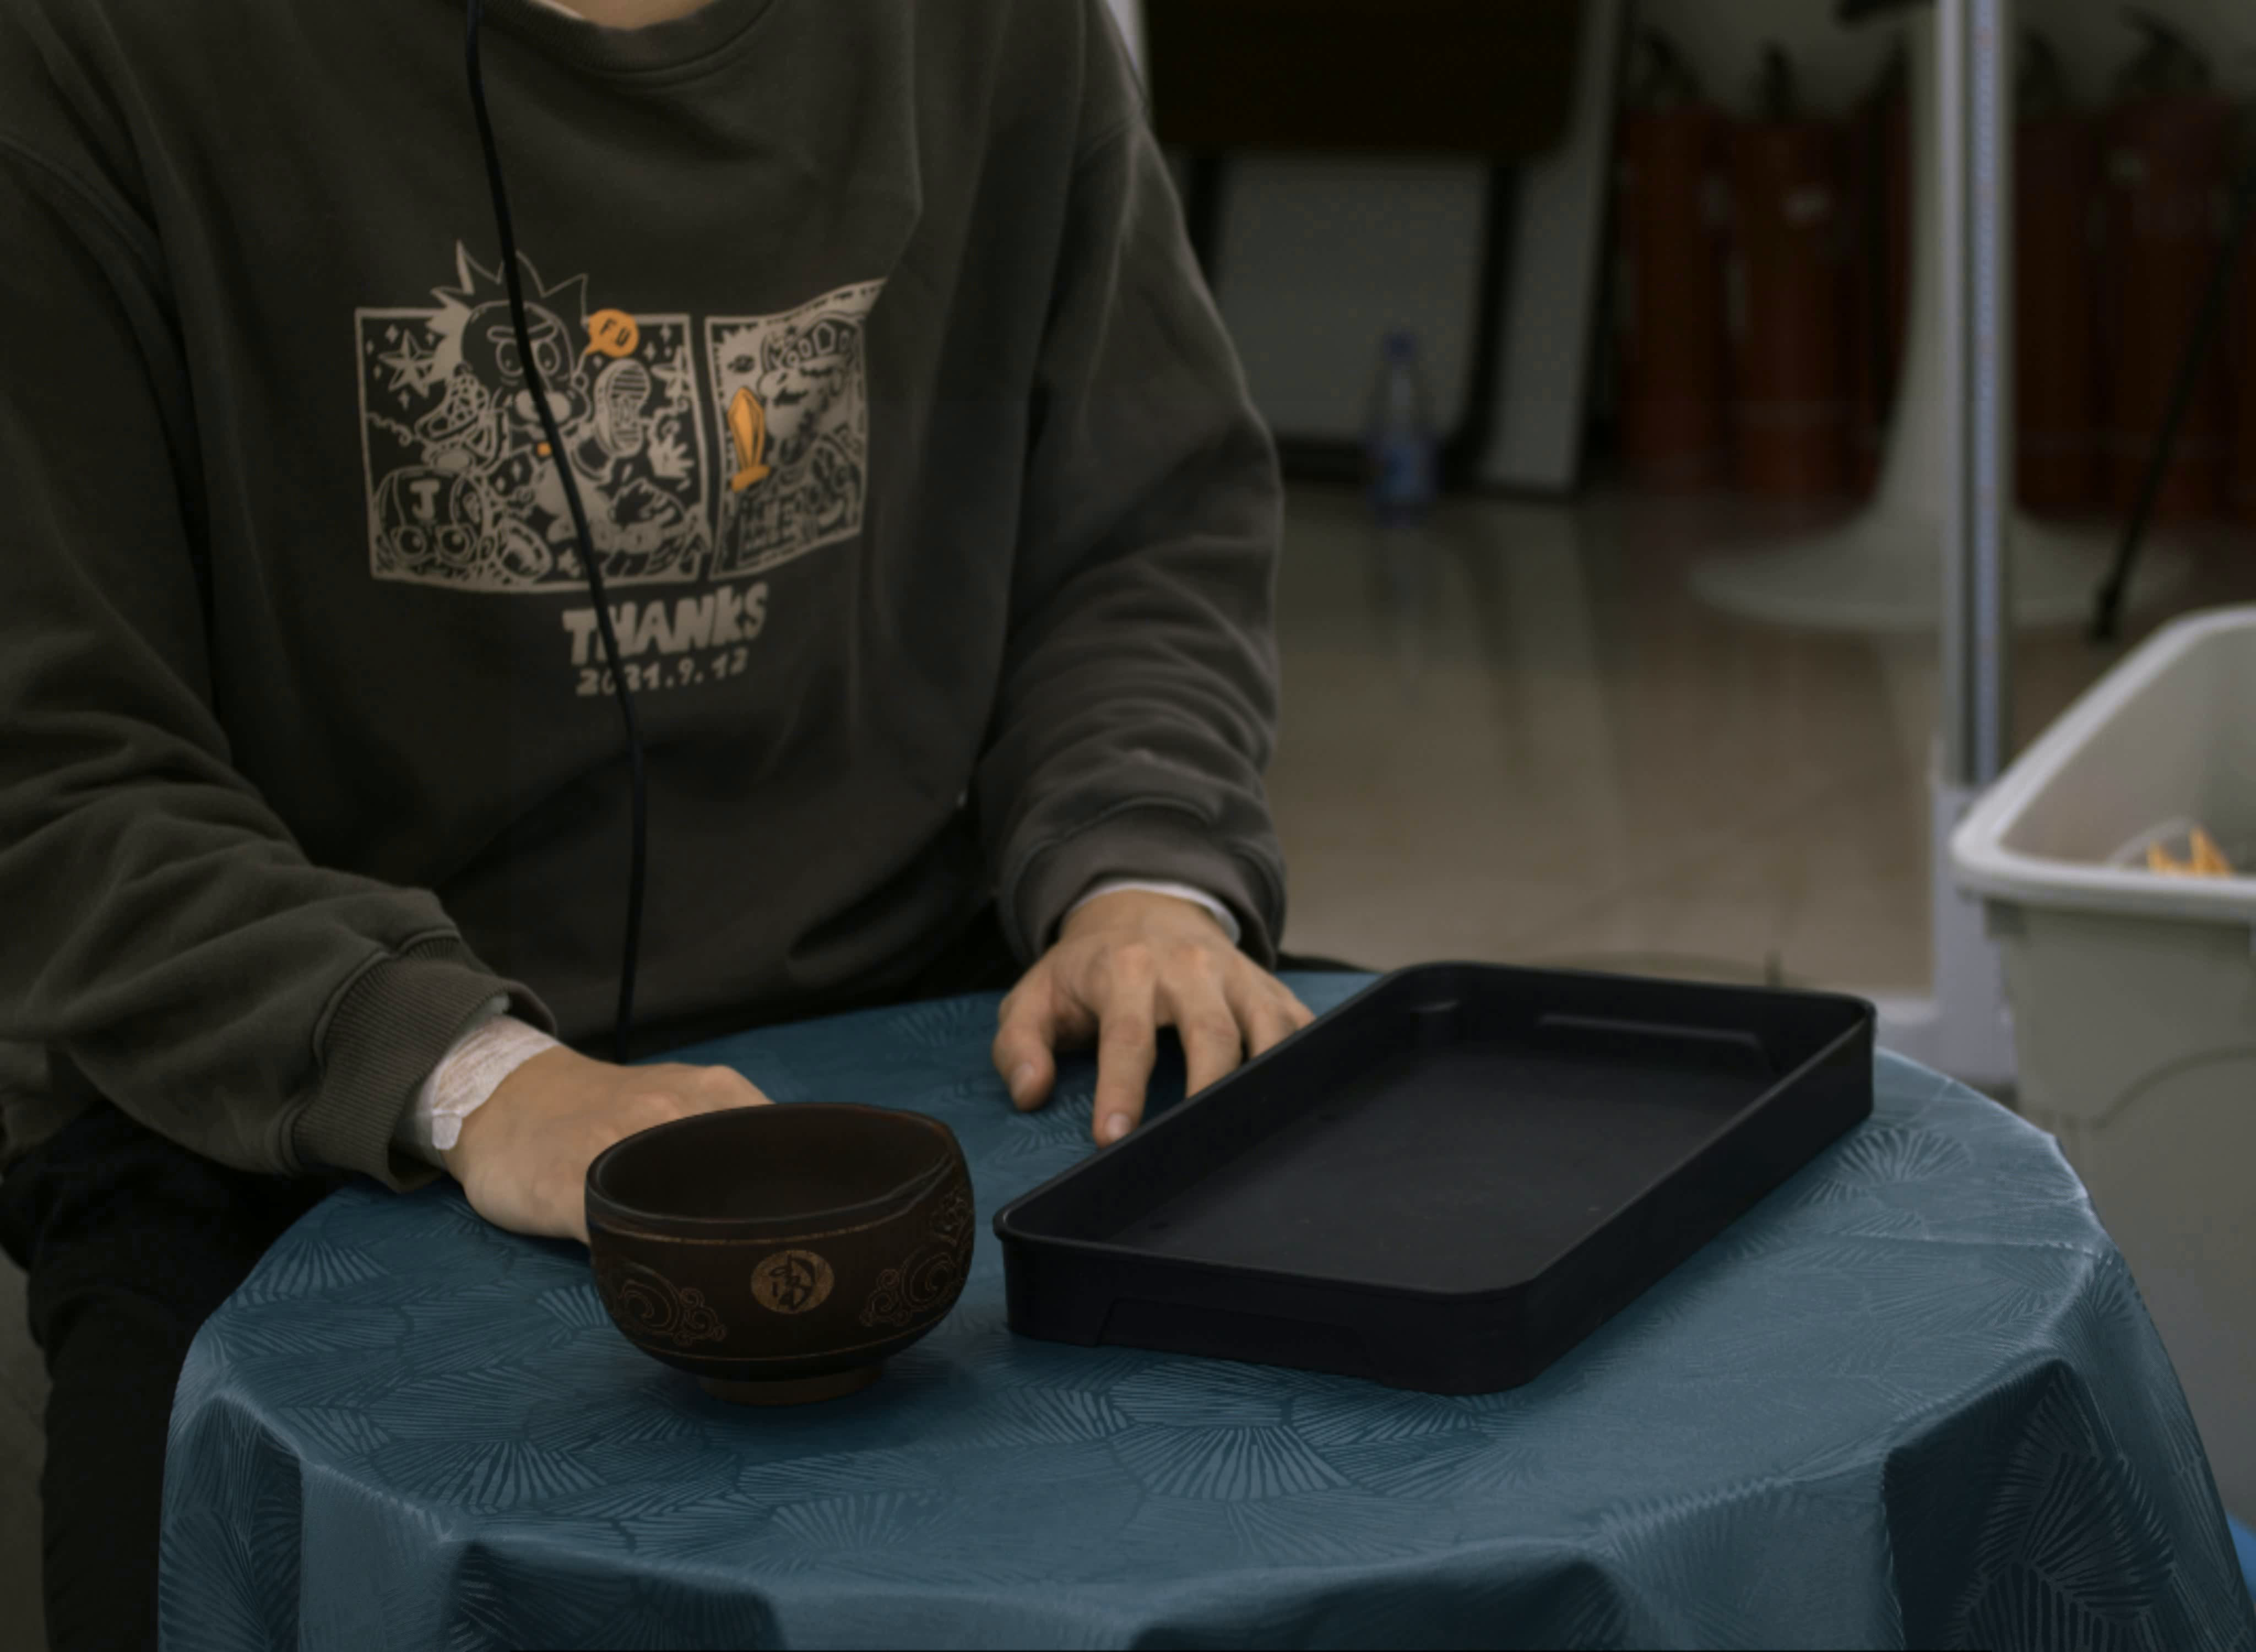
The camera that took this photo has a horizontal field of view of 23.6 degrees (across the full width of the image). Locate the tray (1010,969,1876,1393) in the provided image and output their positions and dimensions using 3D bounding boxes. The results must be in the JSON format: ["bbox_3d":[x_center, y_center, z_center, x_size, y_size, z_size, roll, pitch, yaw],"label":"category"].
[{"bbox_3d":[0.109,0.108,1.728,0.185,0.037,0.313,2,15,28],"label":"tray"}]

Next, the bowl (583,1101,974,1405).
[{"bbox_3d":[-0.103,0.131,1.613,0.116,0.070,0.118,-5,12,0],"label":"bowl"}]
